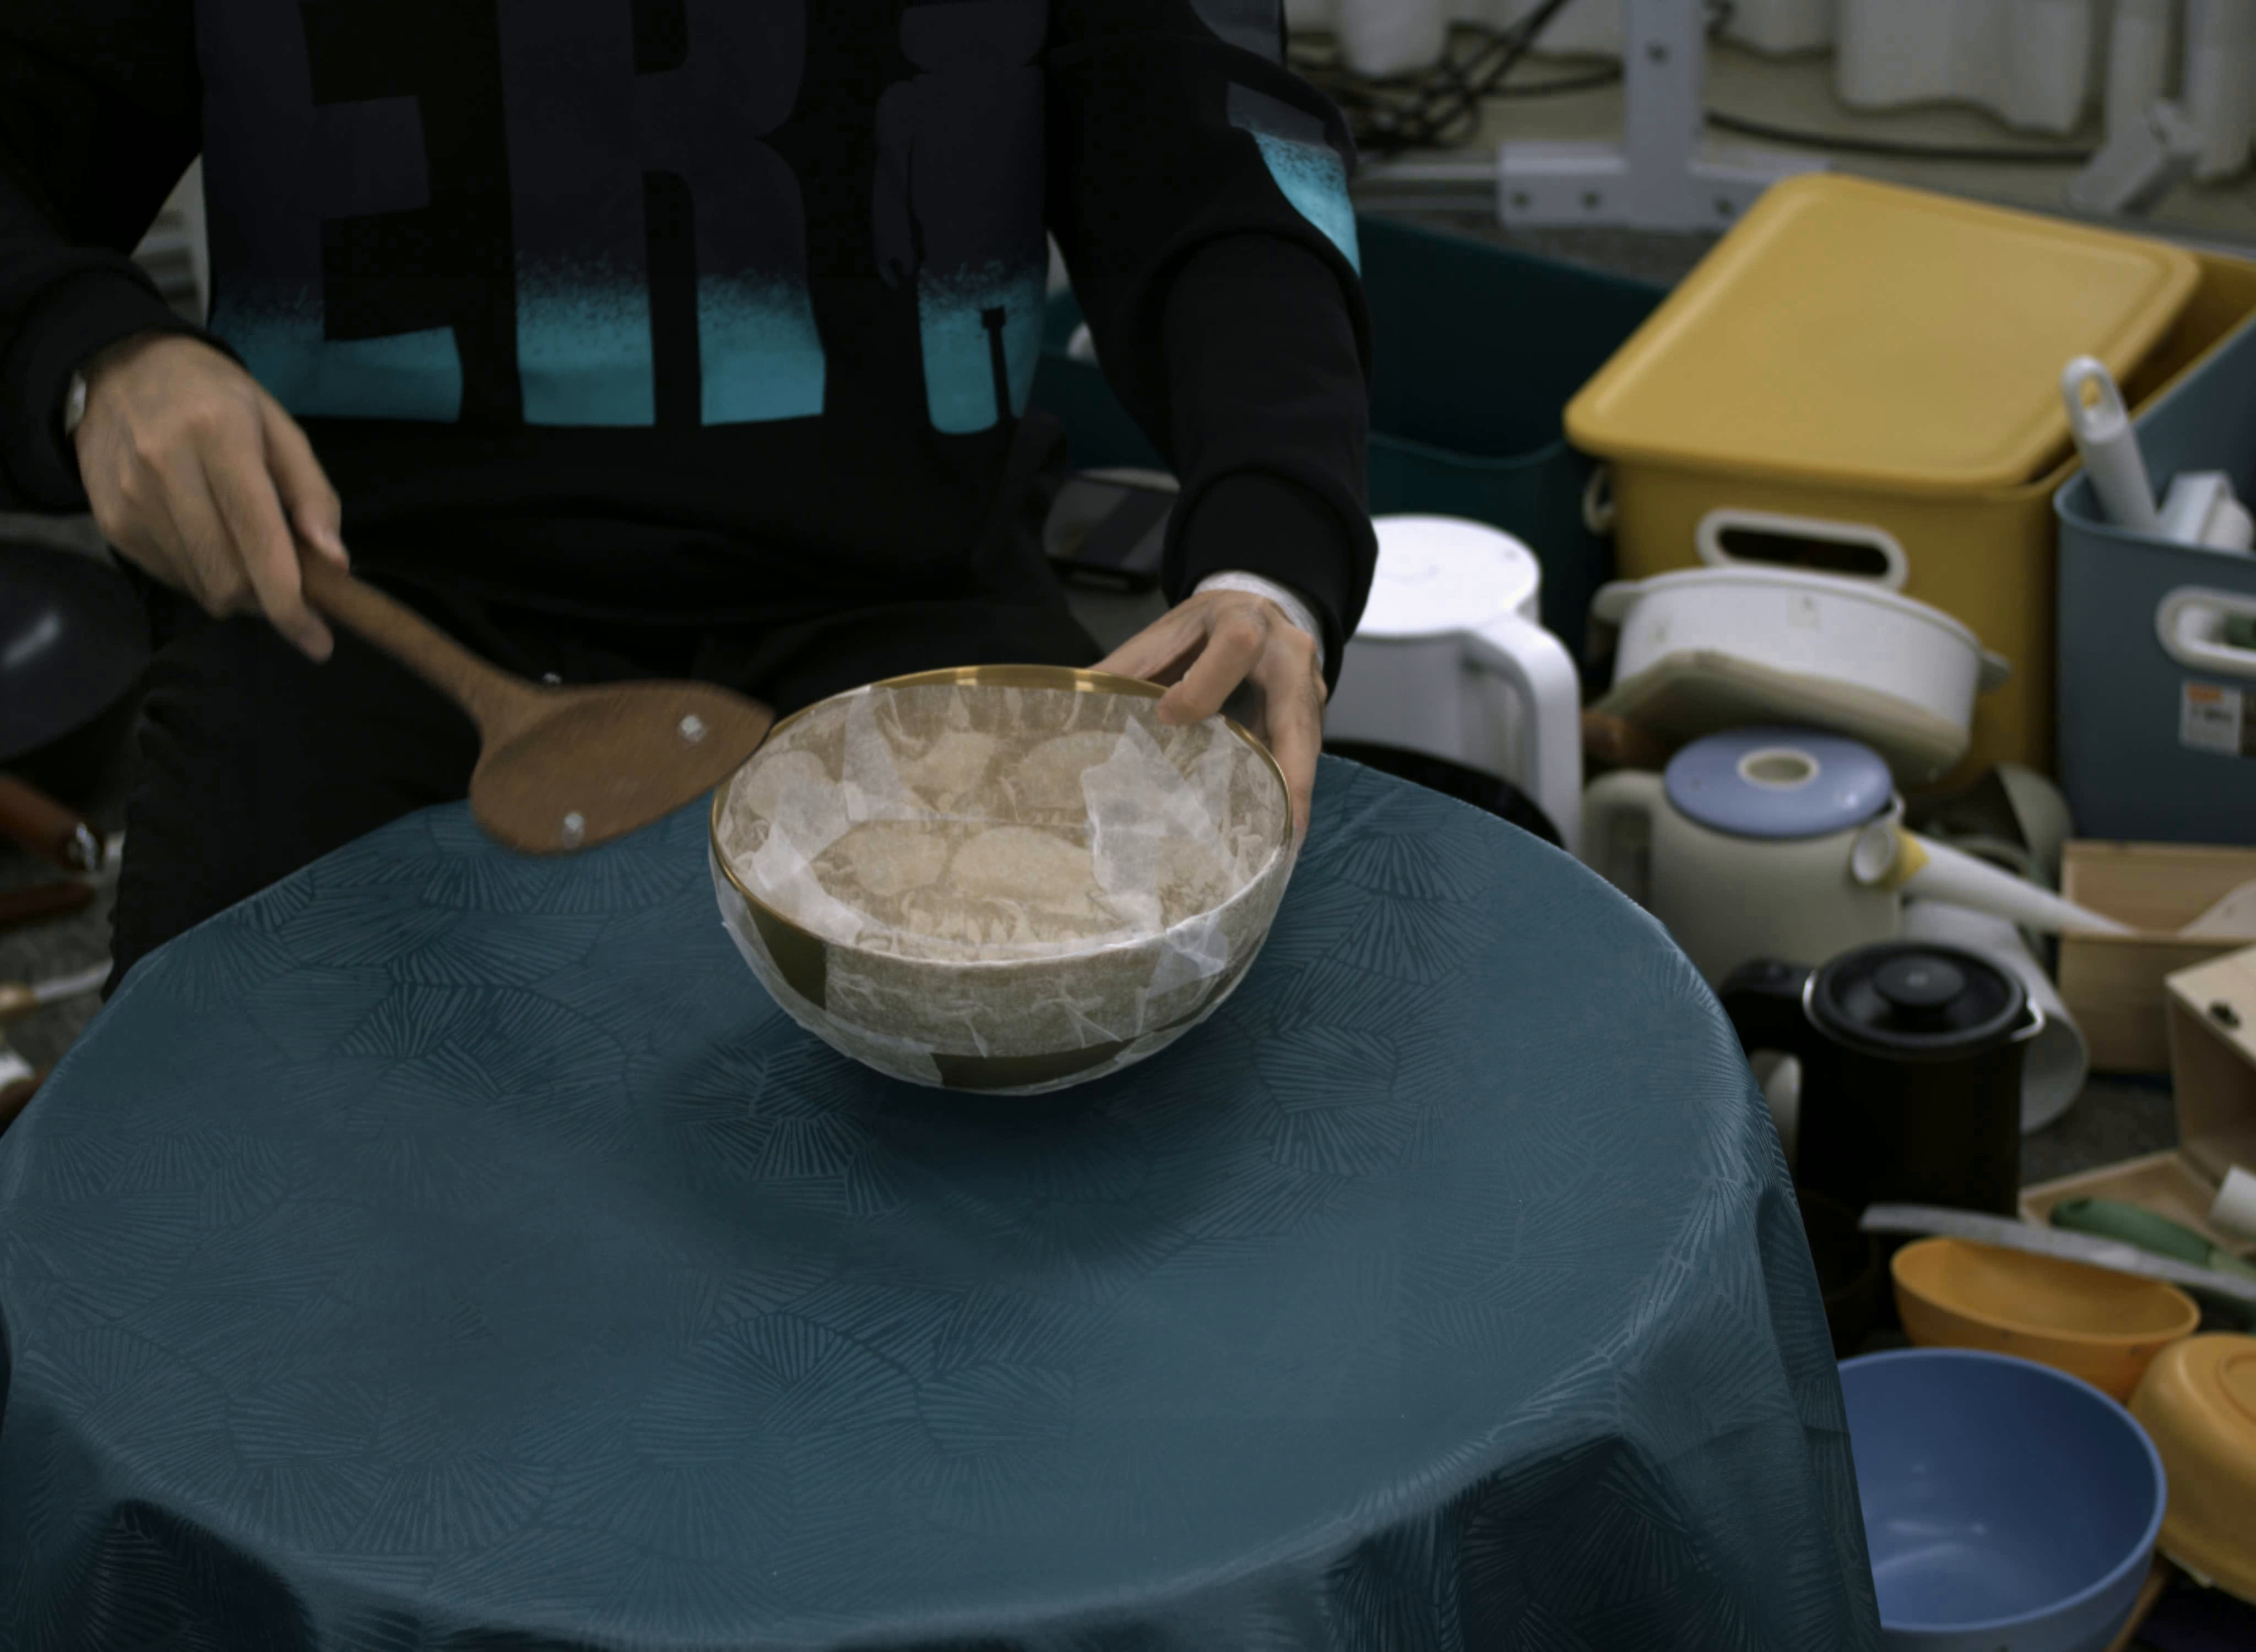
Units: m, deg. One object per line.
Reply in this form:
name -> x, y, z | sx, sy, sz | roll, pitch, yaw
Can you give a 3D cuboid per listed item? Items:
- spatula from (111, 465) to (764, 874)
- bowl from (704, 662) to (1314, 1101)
spatula -> -0.254, -0.062, 1.912 | 0.097, 0.015, 0.386 | -30, 36, -24
bowl -> -0.039, 0.031, 1.929 | 0.213, 0.093, 0.218 | -2, 29, 1
